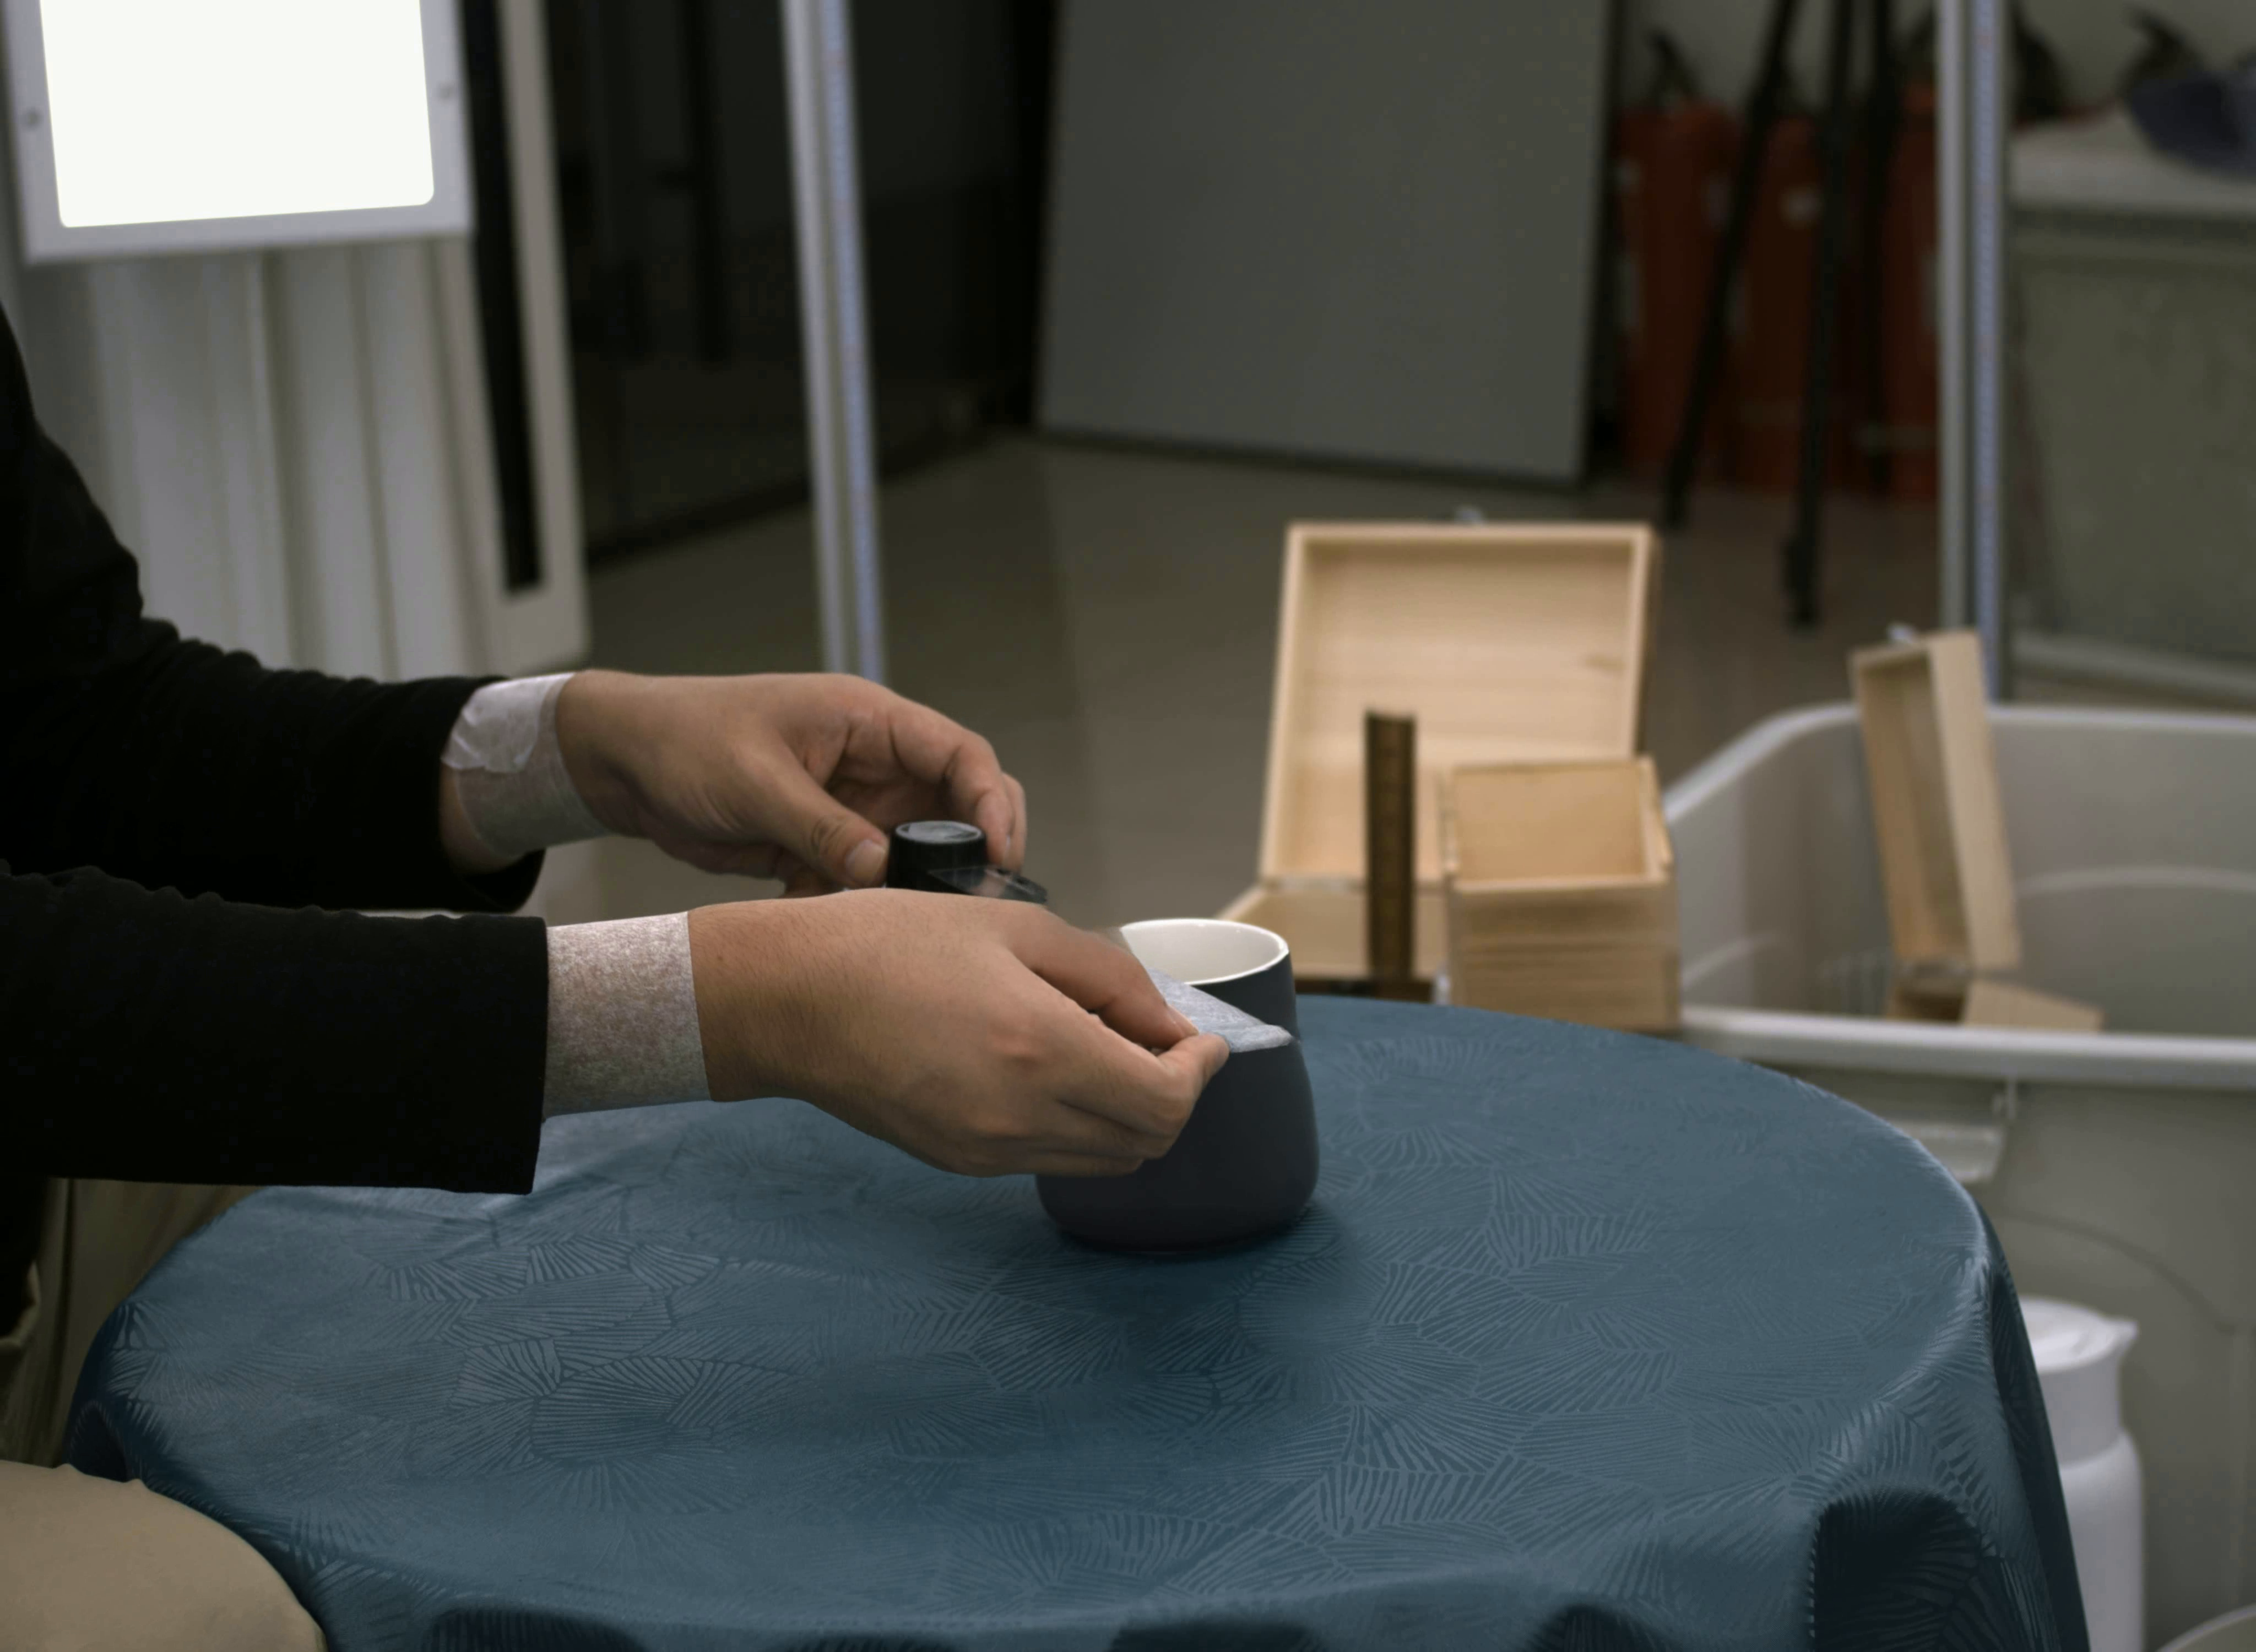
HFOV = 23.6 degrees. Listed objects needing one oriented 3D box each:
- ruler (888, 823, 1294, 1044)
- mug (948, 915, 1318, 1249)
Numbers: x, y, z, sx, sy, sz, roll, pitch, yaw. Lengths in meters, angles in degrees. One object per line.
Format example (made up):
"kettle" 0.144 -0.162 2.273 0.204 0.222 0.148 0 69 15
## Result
"ruler" -0.018 0.032 1.697 0.037 0.024 0.220 -12 17 -26
"mug" 0.000 0.081 1.734 0.123 0.091 0.092 2 14 19
